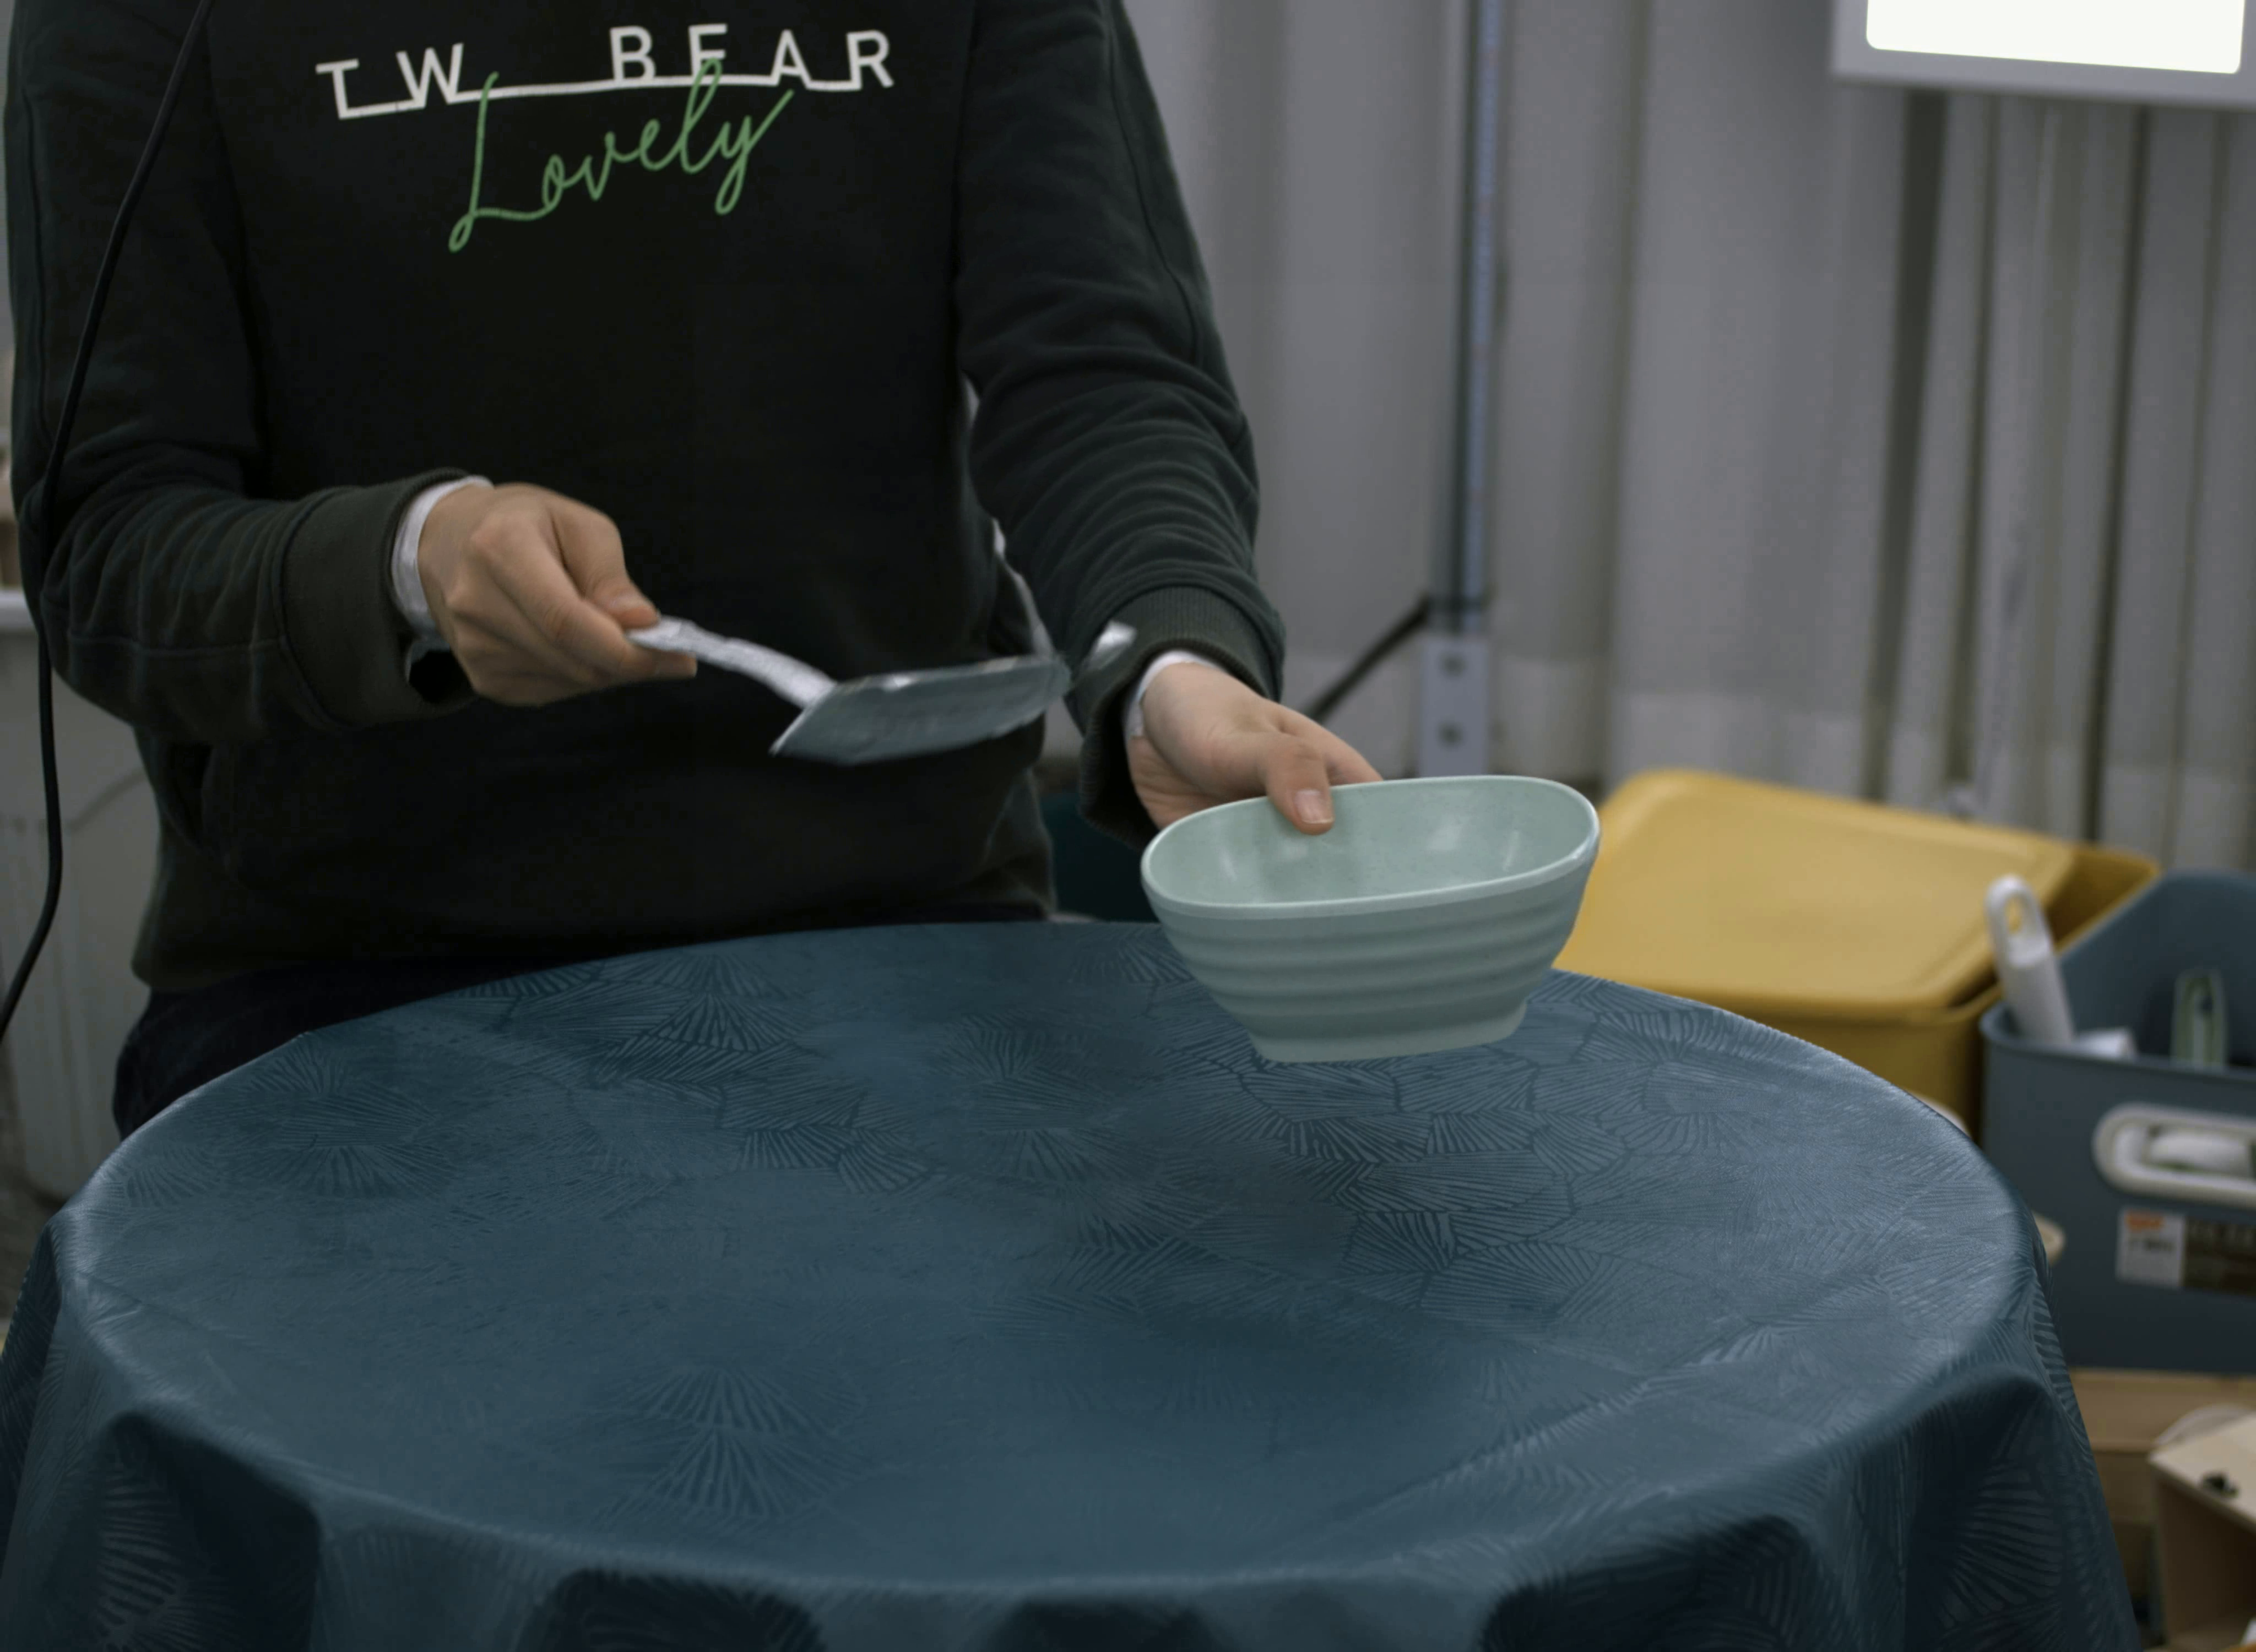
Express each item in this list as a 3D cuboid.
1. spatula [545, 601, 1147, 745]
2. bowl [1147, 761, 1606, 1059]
[{"bbox_3d":[-0.111,-0.059,1.609,0.099,0.045,0.360,-13,15,-26],"label":"spatula"},{"bbox_3d":[0.077,0.029,1.597,0.151,0.059,0.150,-3,19,2],"label":"bowl"}]
